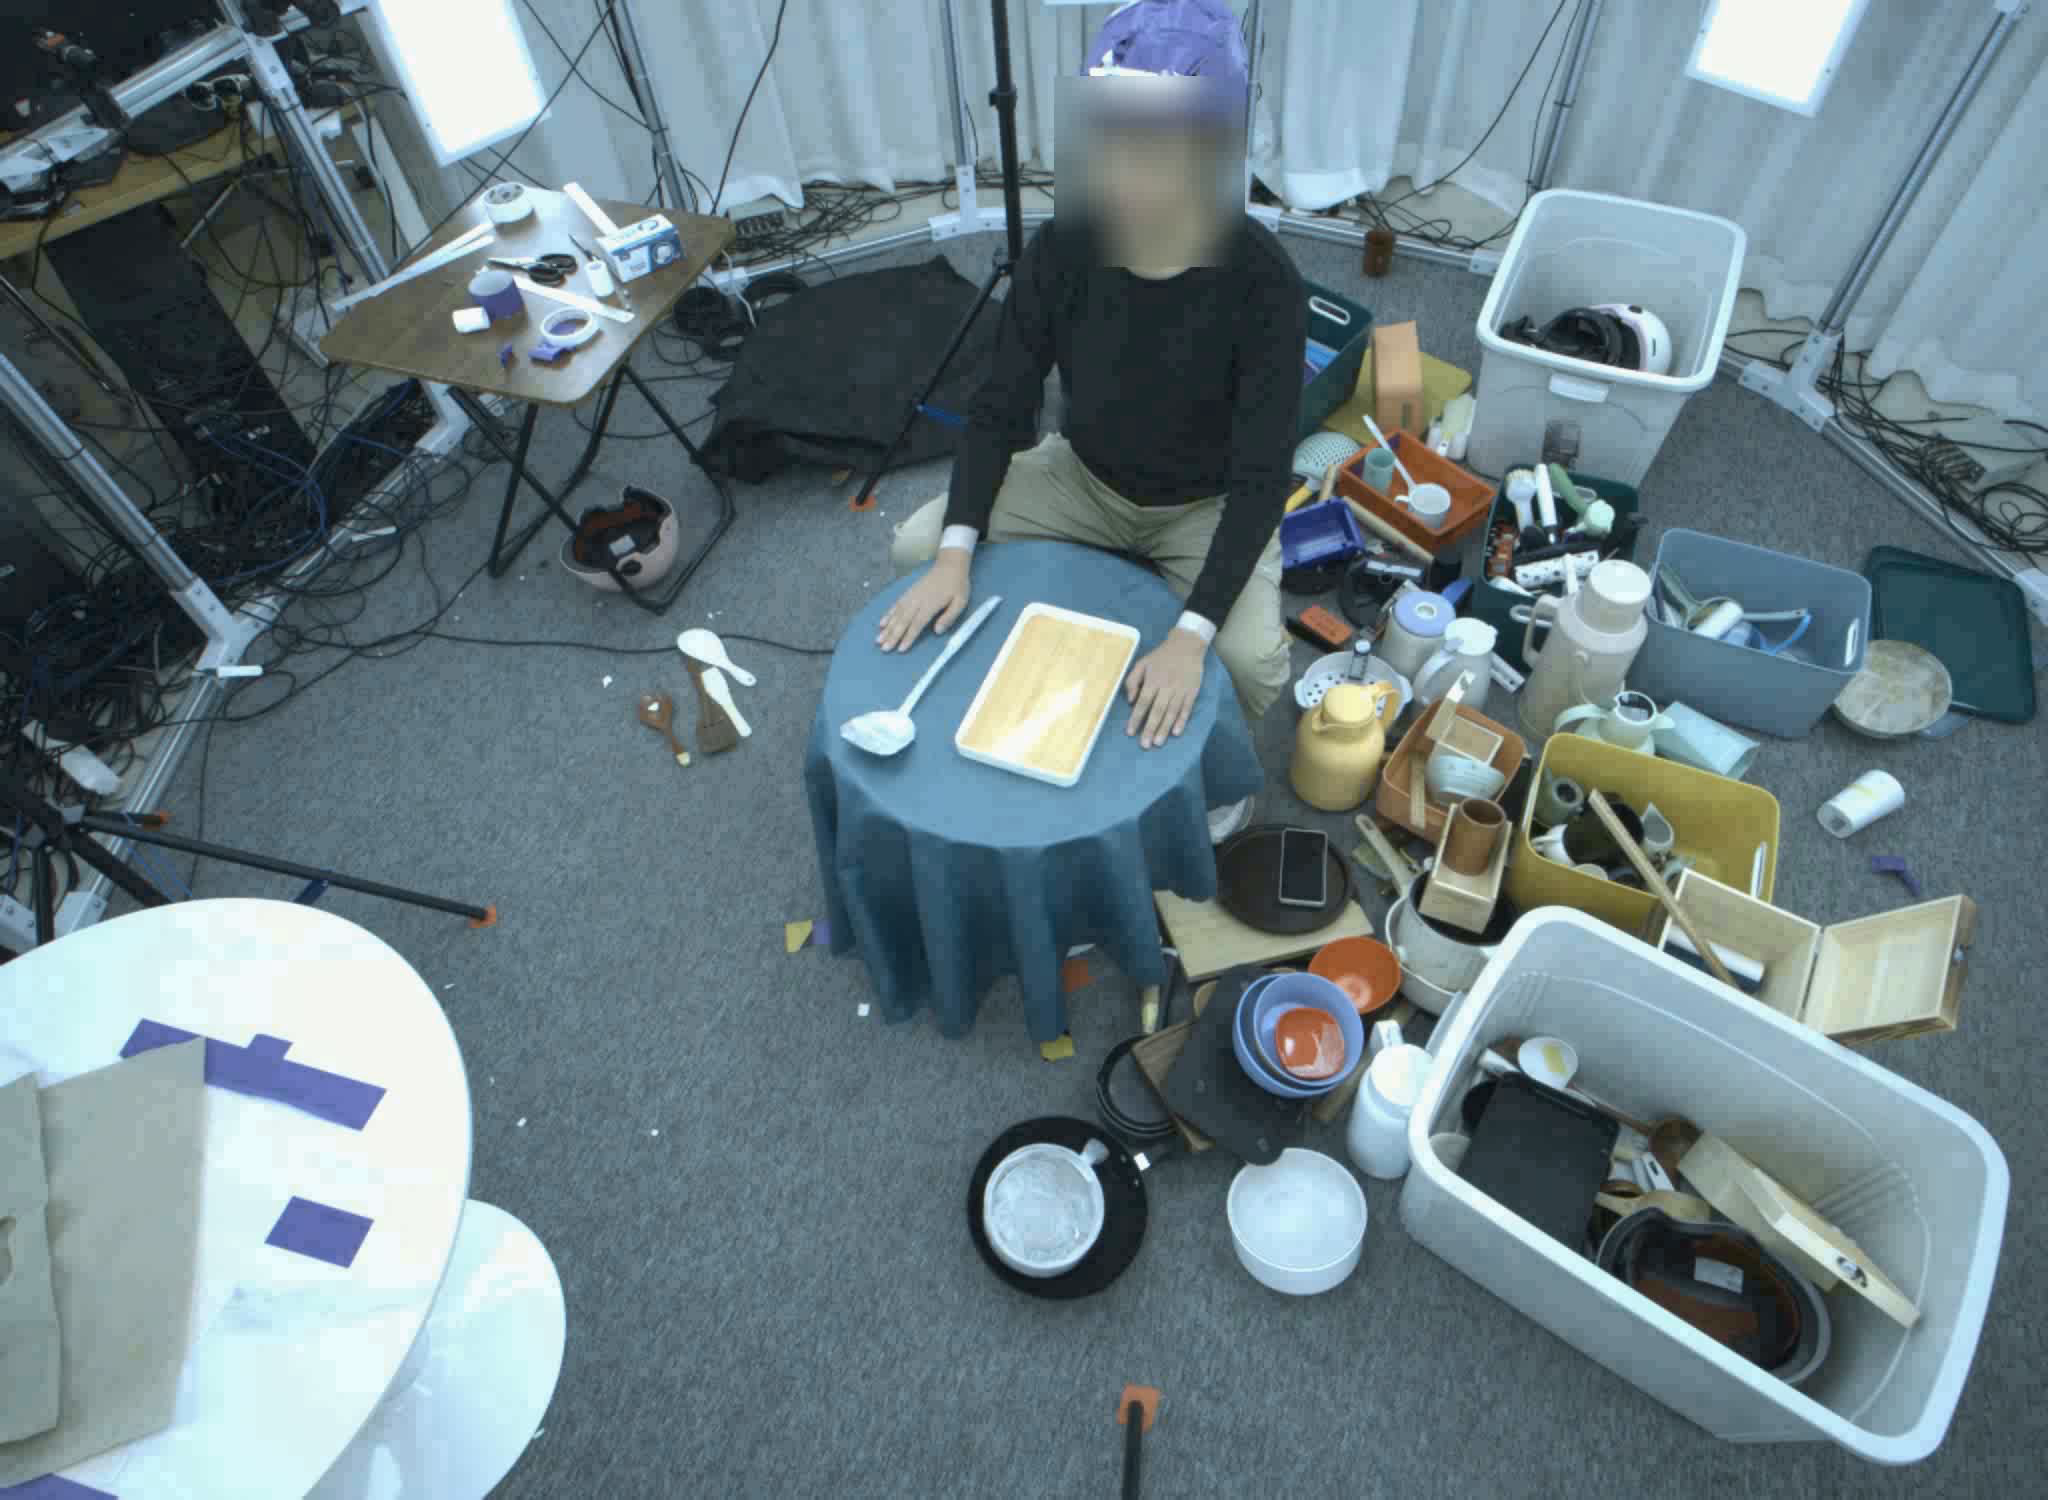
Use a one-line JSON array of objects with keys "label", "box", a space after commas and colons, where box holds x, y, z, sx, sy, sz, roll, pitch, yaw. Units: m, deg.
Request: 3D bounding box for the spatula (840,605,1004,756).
[{"label": "spatula", "box": [-0.138, -0.120, 1.854, 0.097, 0.045, 0.366, 25, 59, 19]}]

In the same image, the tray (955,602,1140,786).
[{"label": "tray", "box": [0.039, -0.089, 1.833, 0.189, 0.028, 0.300, 18, 57, 14]}]
